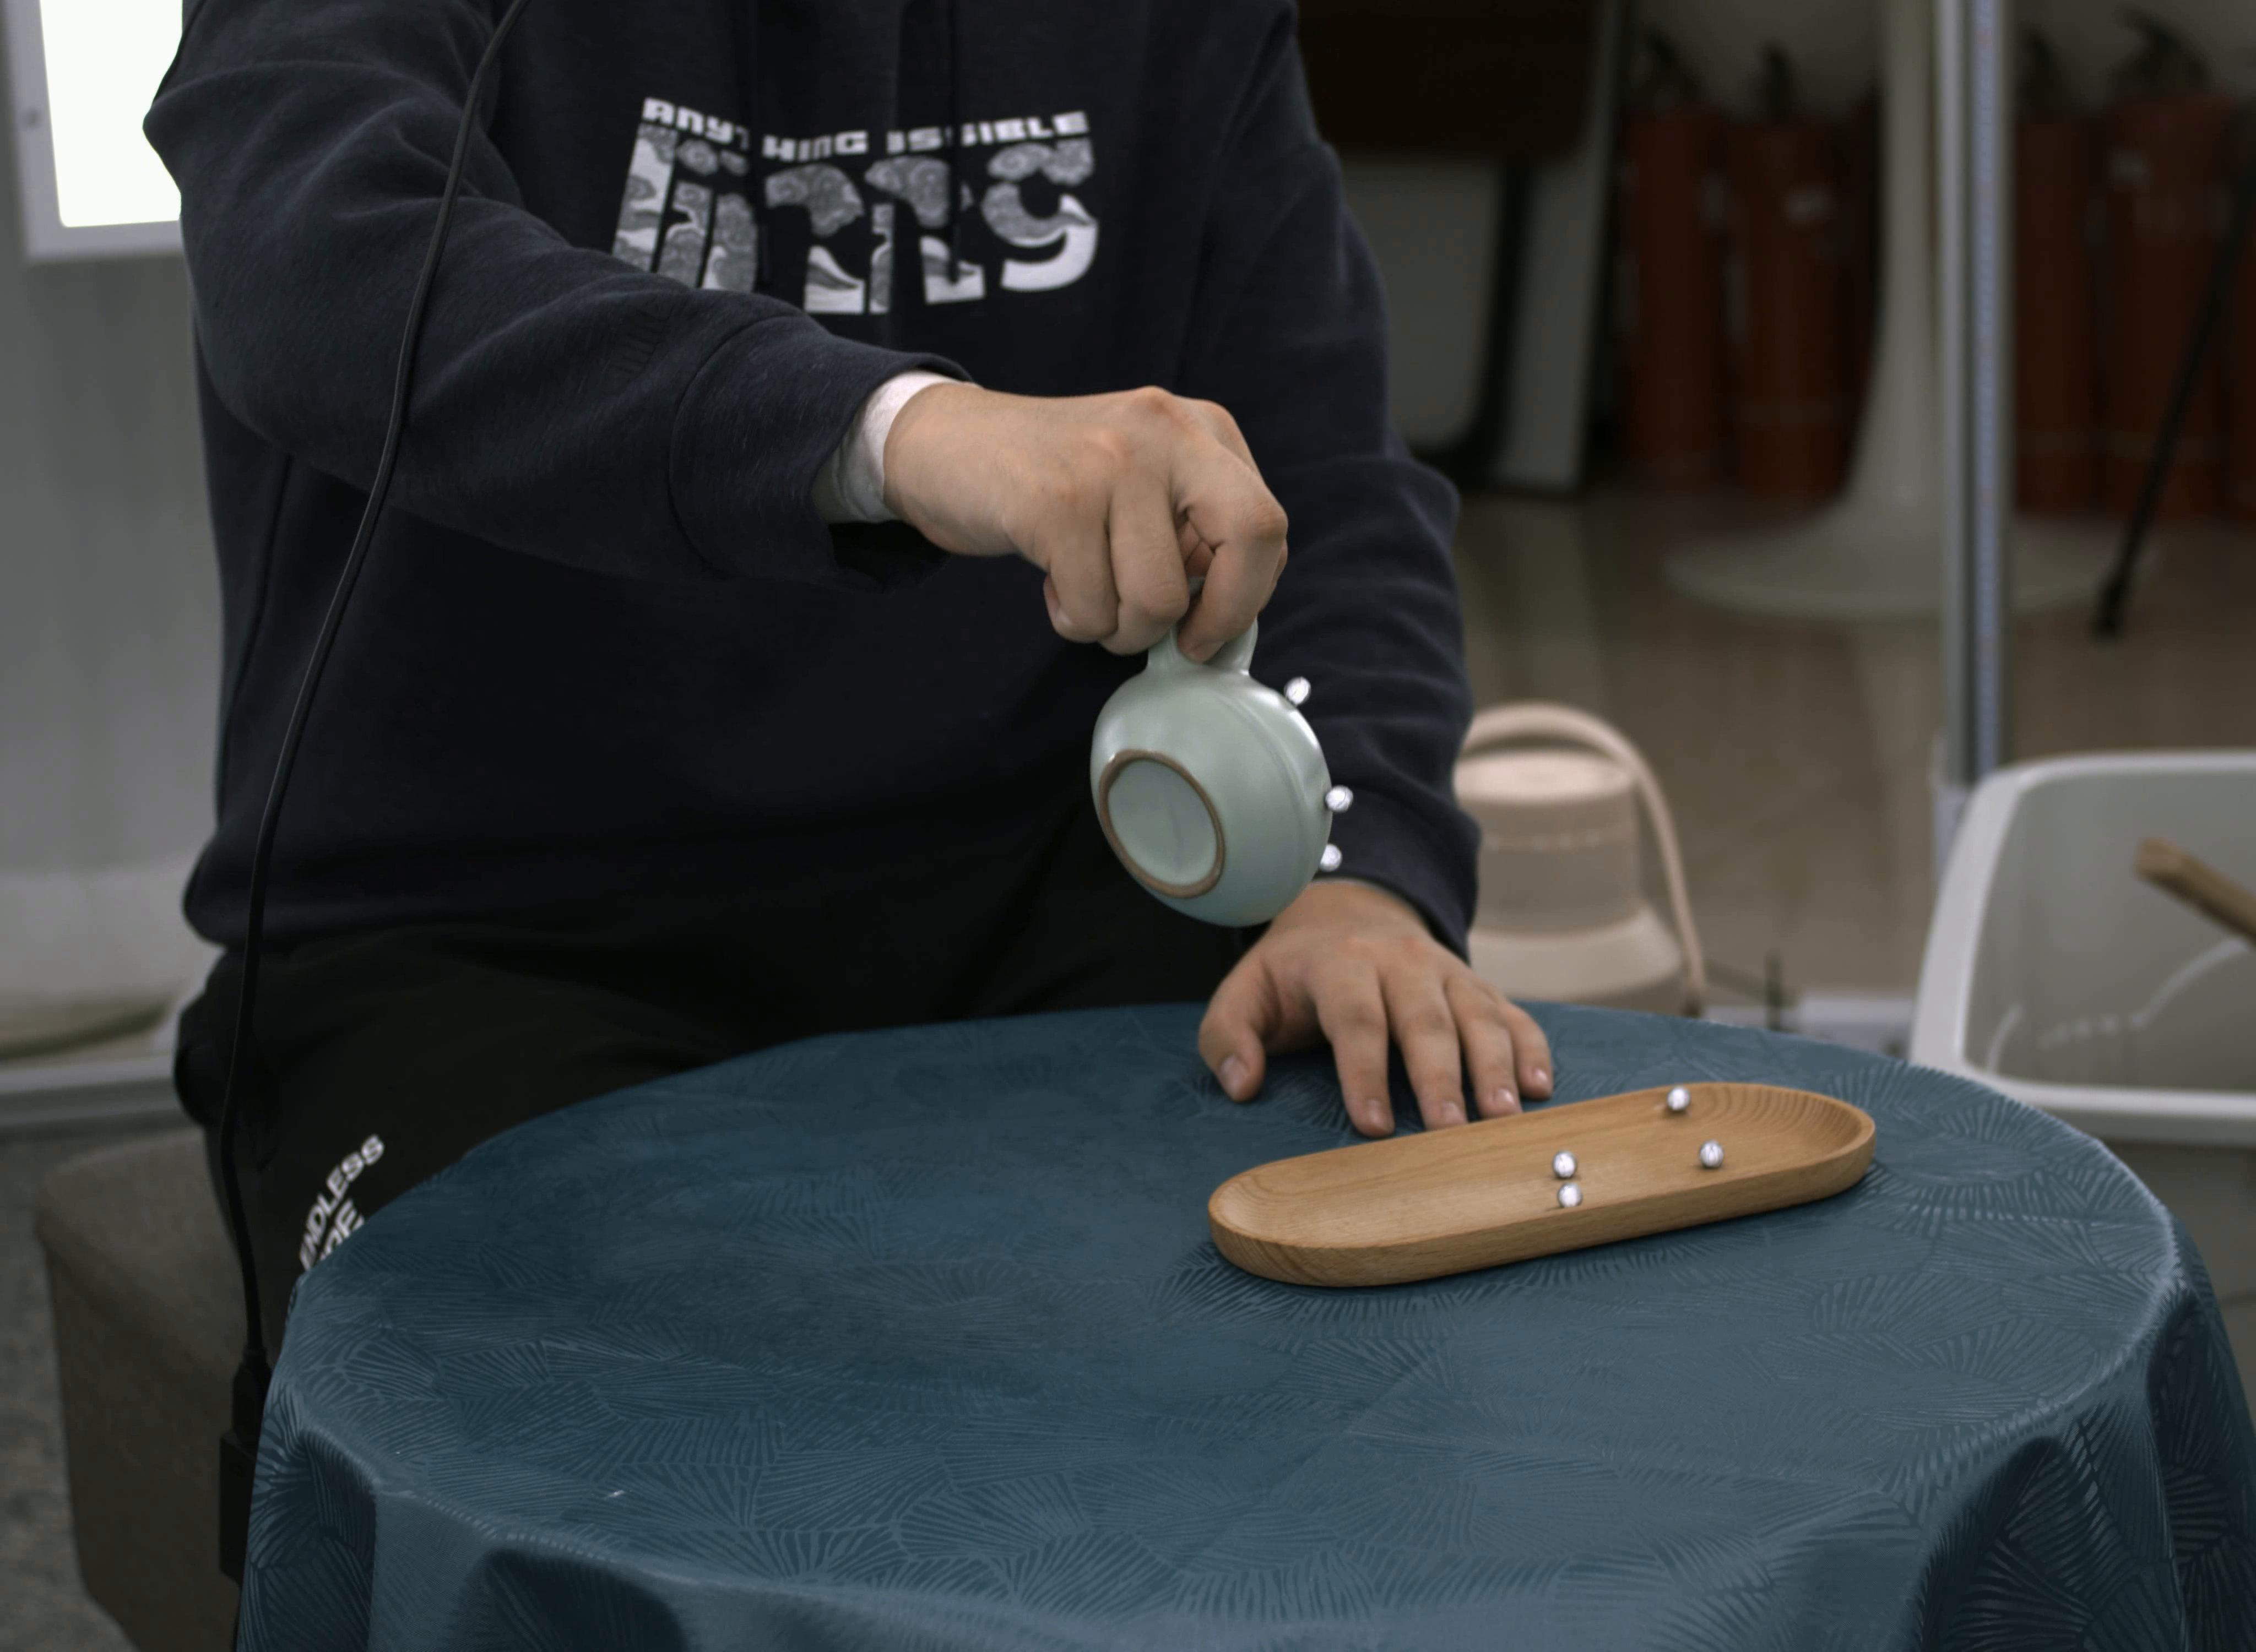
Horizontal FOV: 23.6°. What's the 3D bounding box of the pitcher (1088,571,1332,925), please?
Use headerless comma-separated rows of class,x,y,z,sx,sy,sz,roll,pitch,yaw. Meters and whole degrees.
pitcher,0.025,-0.023,1.638,0.087,0.108,0.059,5,29,44

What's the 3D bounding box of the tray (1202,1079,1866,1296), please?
tray,0.132,0.116,1.728,0.226,0.020,0.102,-12,14,-22
